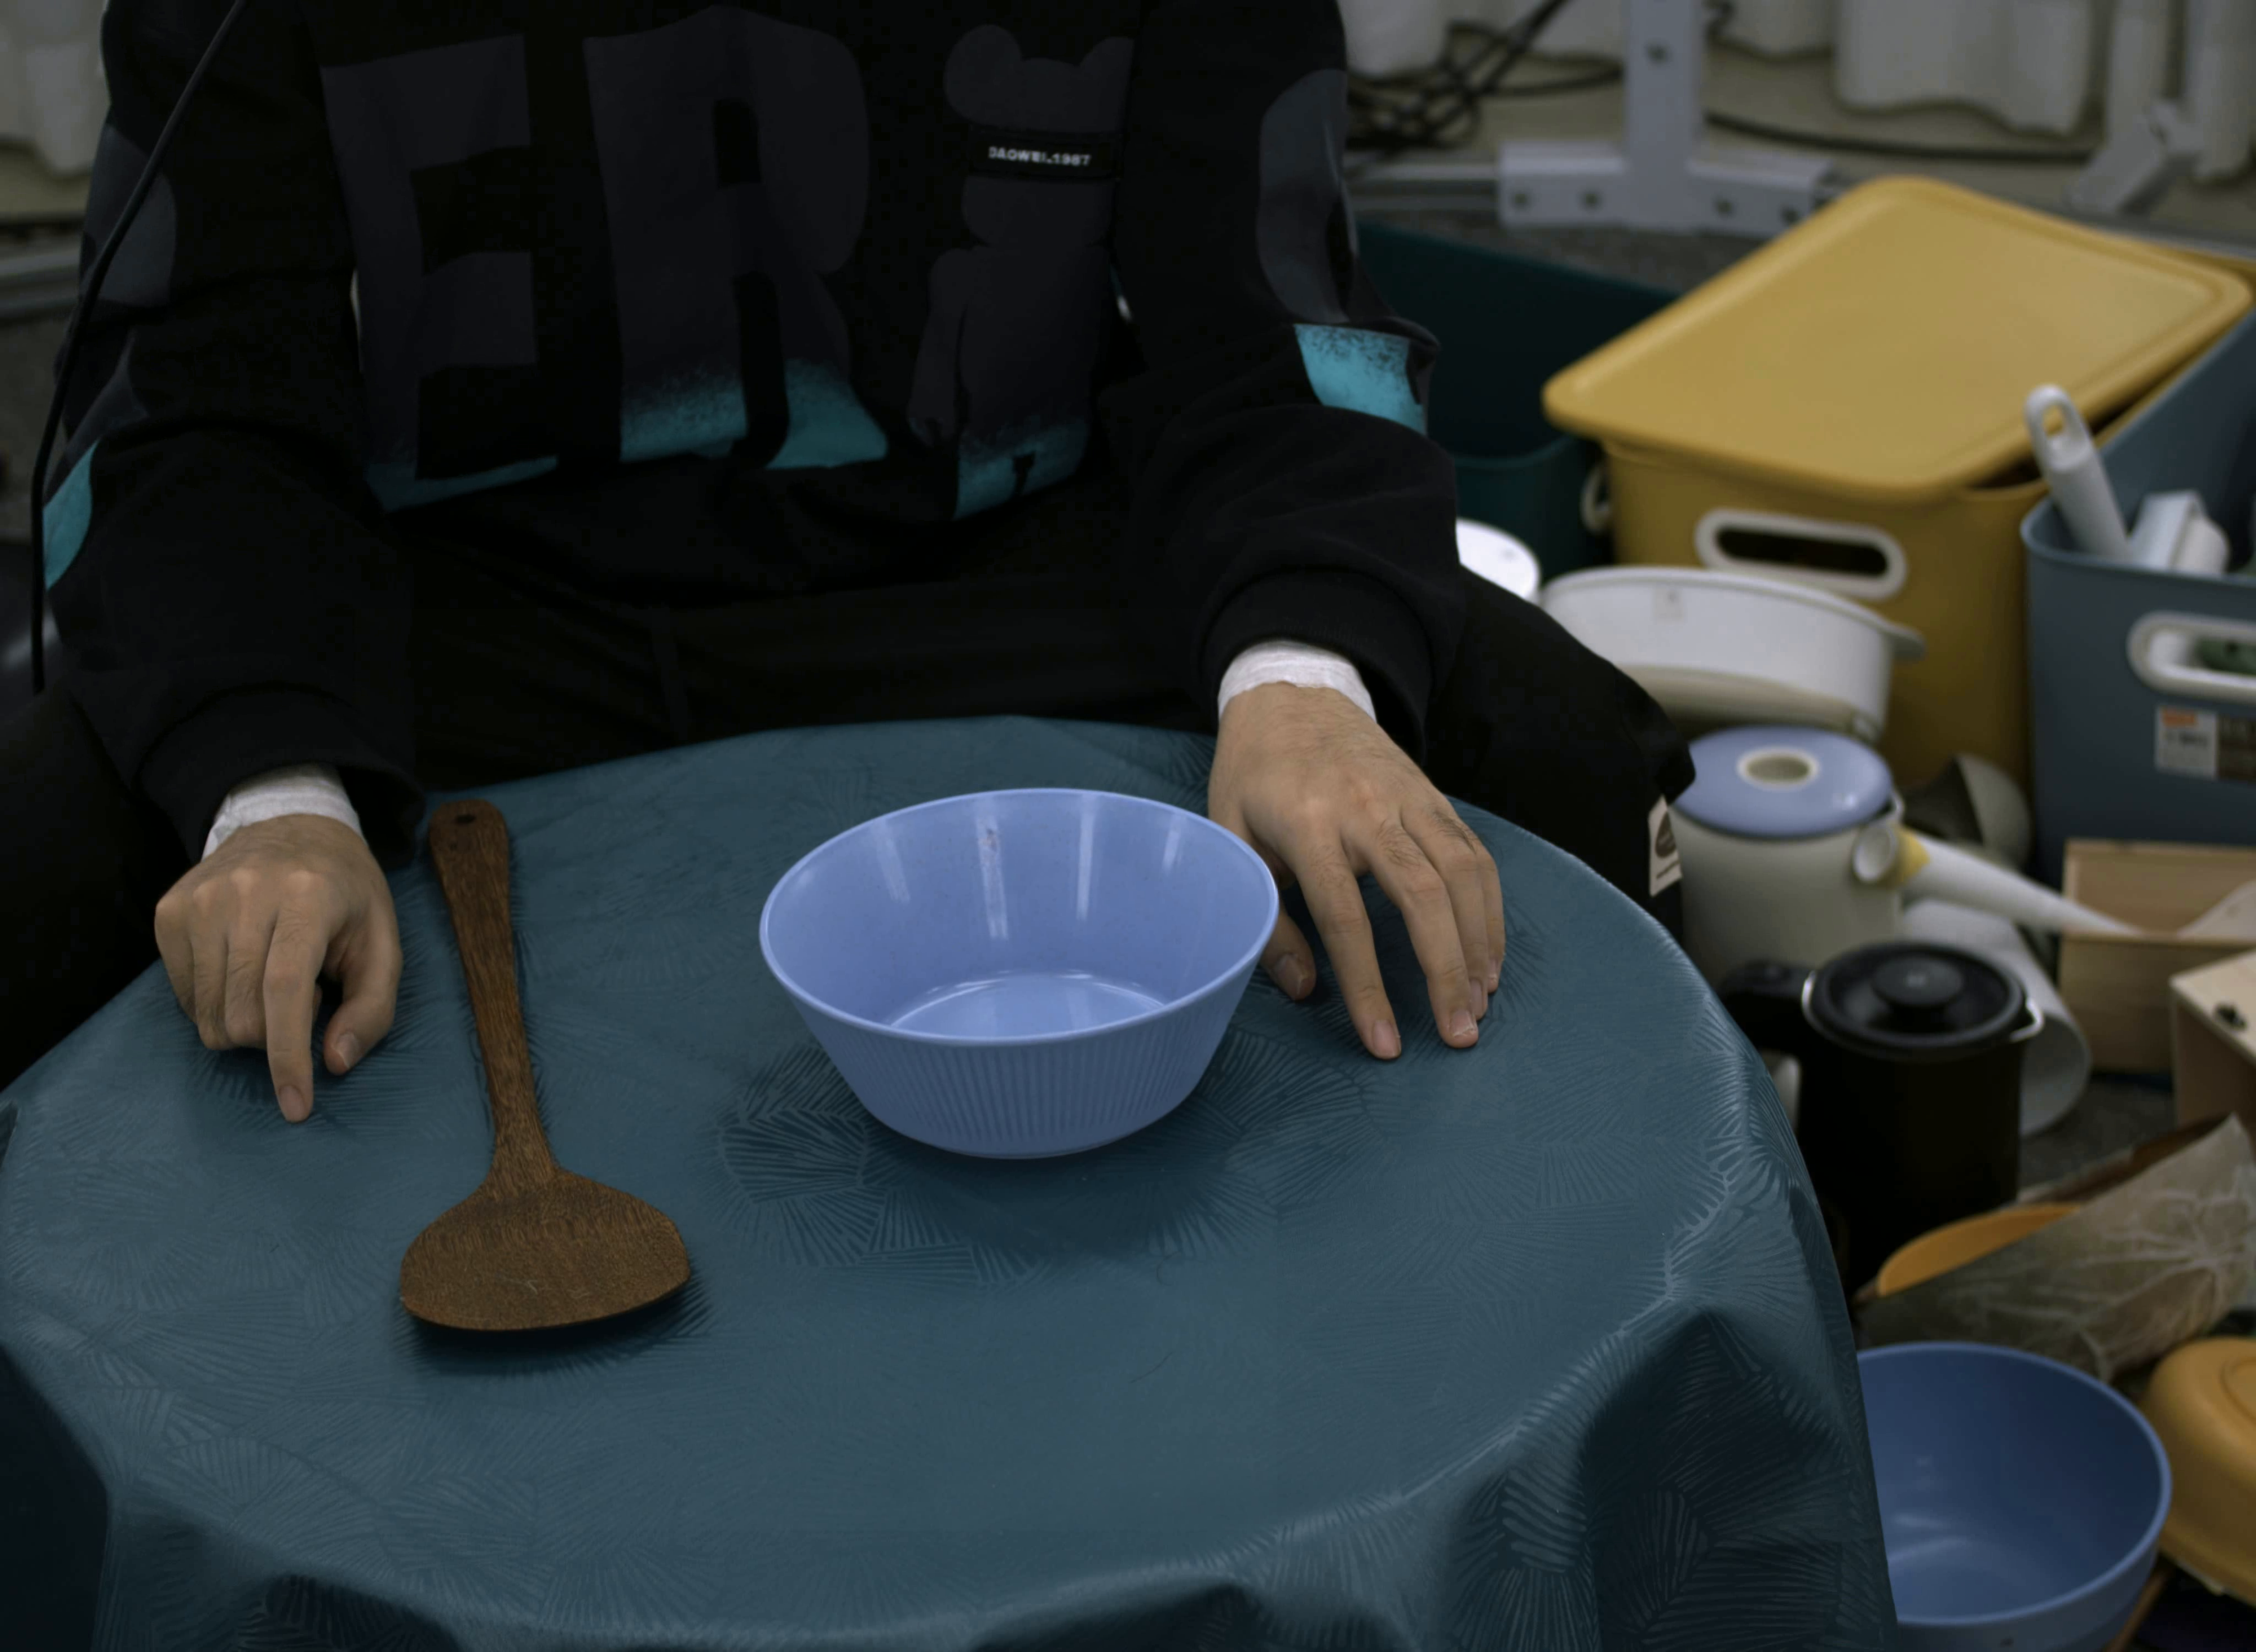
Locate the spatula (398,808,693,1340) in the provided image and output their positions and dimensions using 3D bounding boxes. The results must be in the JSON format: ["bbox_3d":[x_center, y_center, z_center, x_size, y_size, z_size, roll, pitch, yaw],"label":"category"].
[{"bbox_3d":[-0.217,0.078,1.953,0.096,0.015,0.390,-7,27,-8],"label":"spatula"}]

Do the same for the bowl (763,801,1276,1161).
[{"bbox_3d":[-0.035,0.058,1.913,0.175,0.069,0.178,-2,26,1],"label":"bowl"}]
